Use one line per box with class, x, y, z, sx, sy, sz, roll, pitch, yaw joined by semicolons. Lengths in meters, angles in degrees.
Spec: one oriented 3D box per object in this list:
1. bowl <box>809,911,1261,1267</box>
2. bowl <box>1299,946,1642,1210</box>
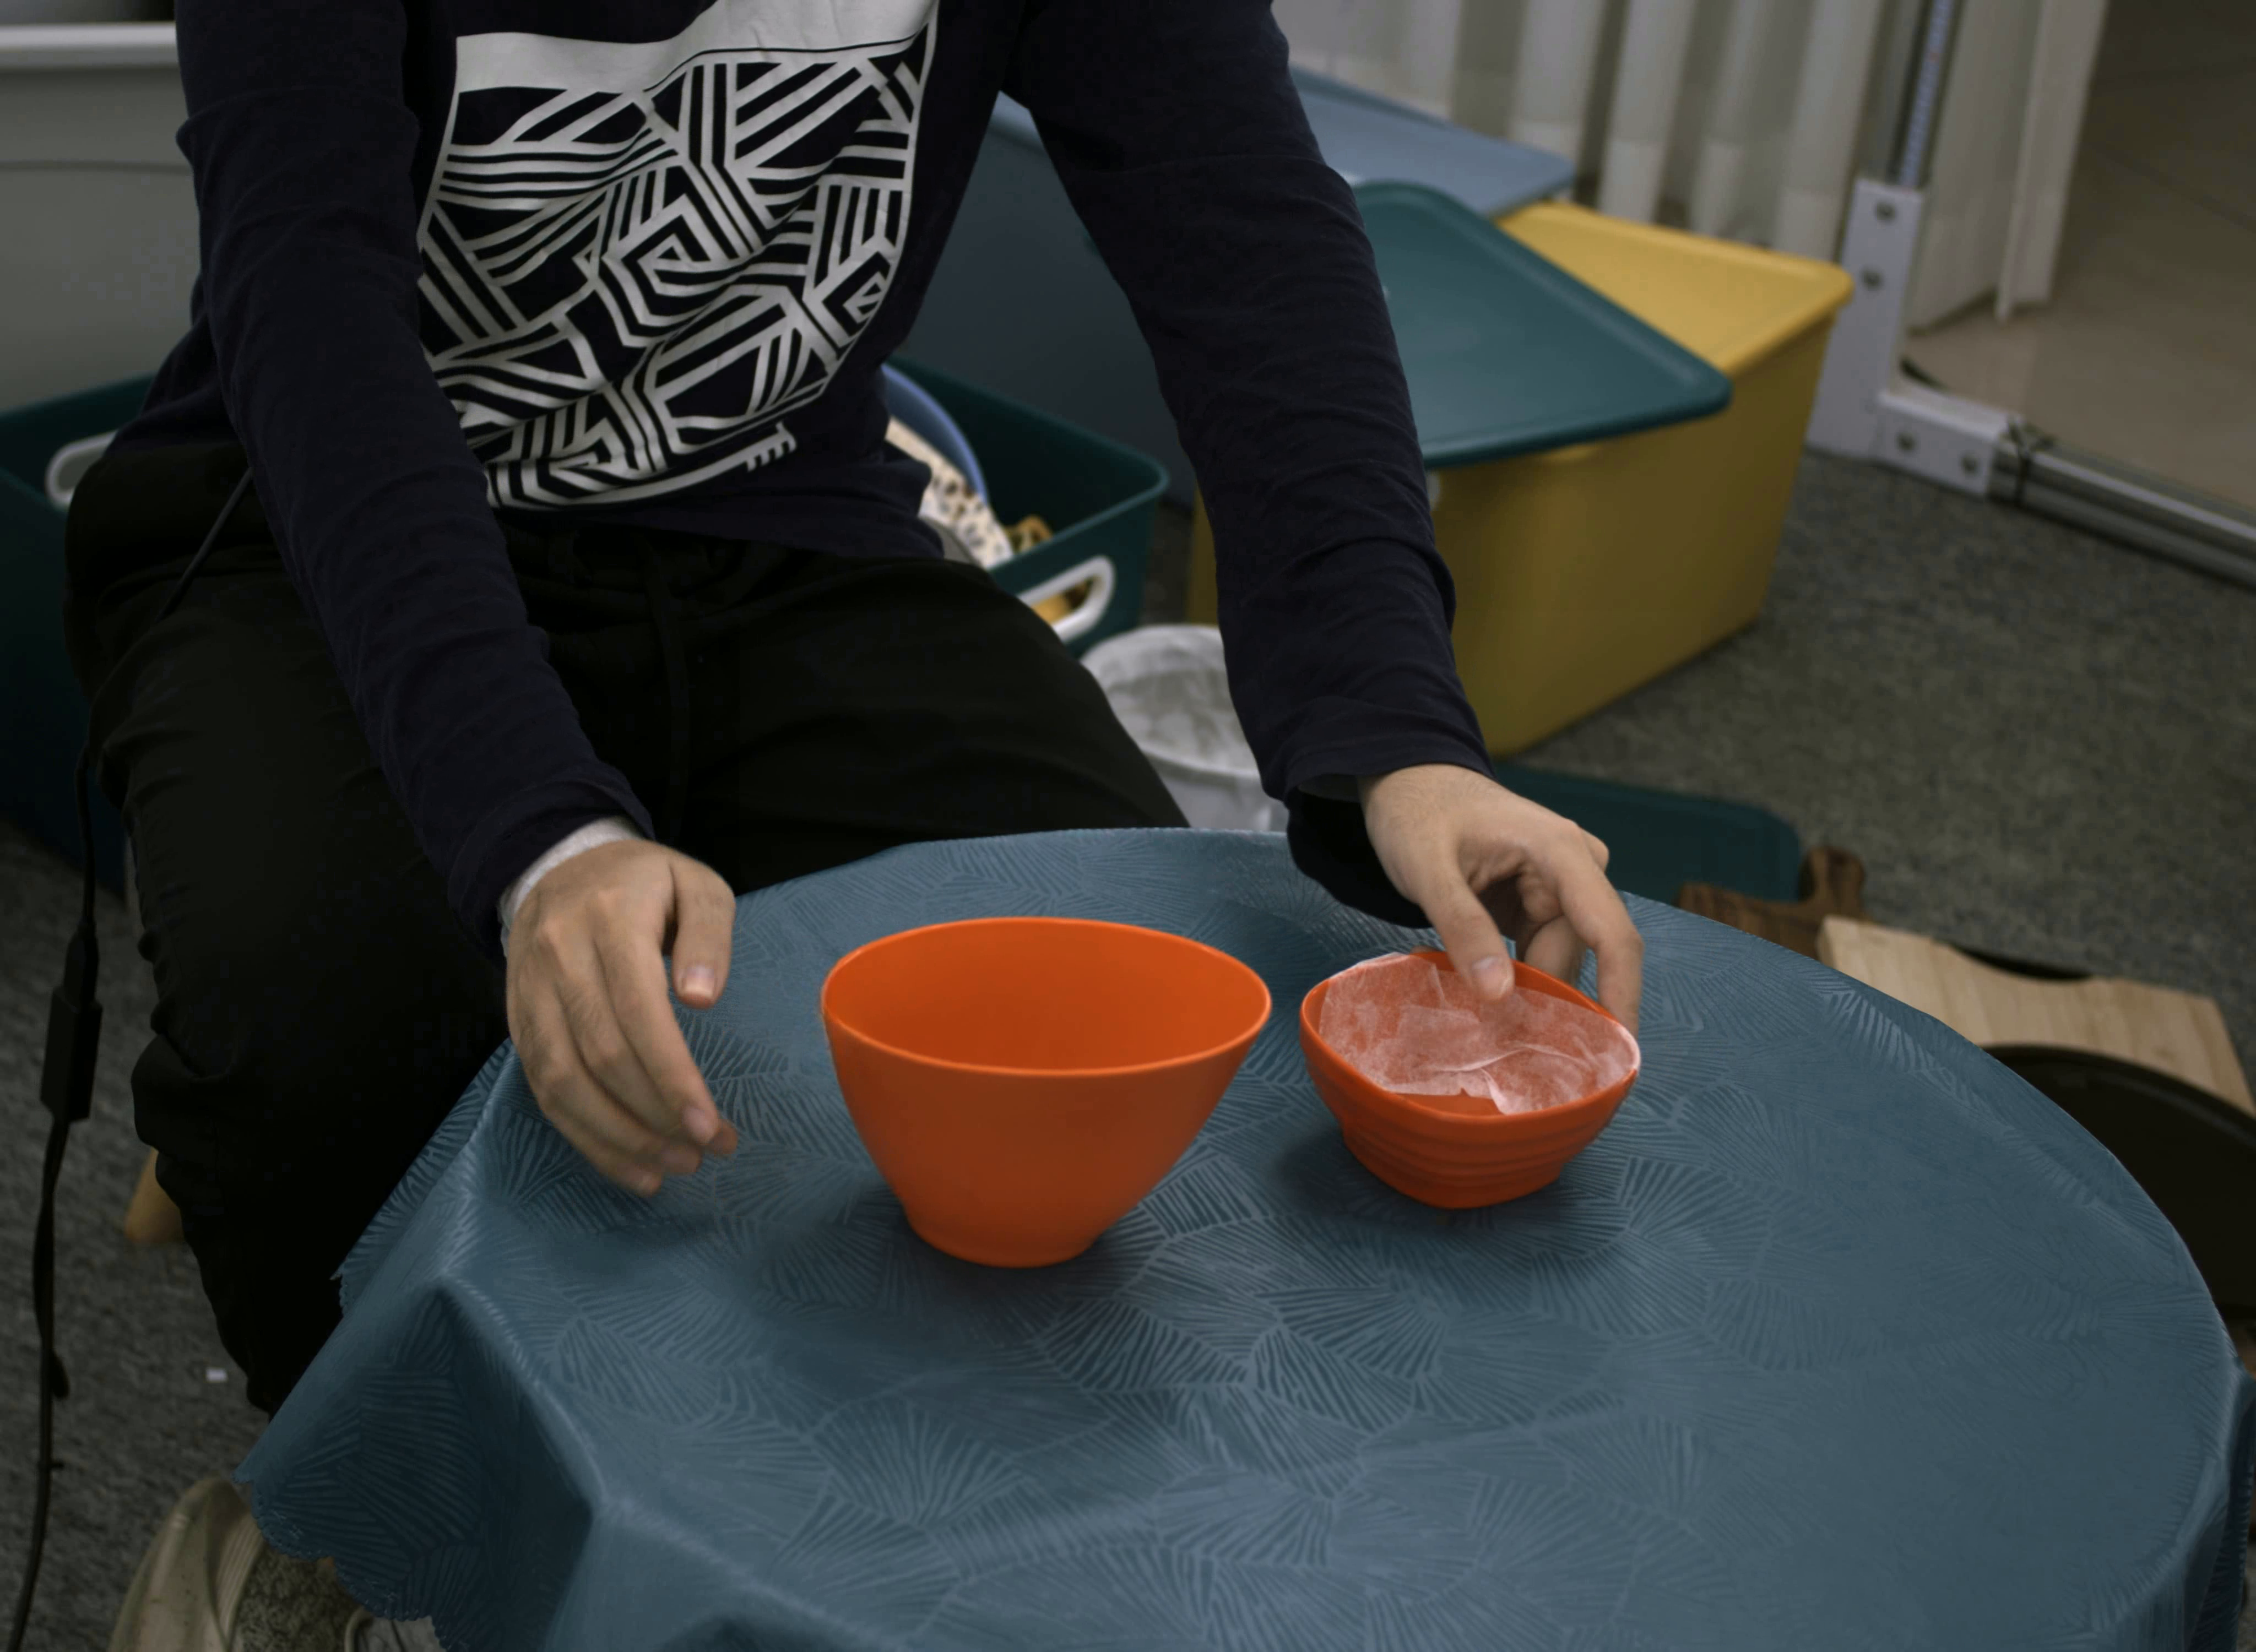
bowl;-0.035;0.090;1.751;0.147;0.104;0.149;5;27;-3
bowl;0.115;0.091;1.839;0.118;0.051;0.119;4;28;-2
